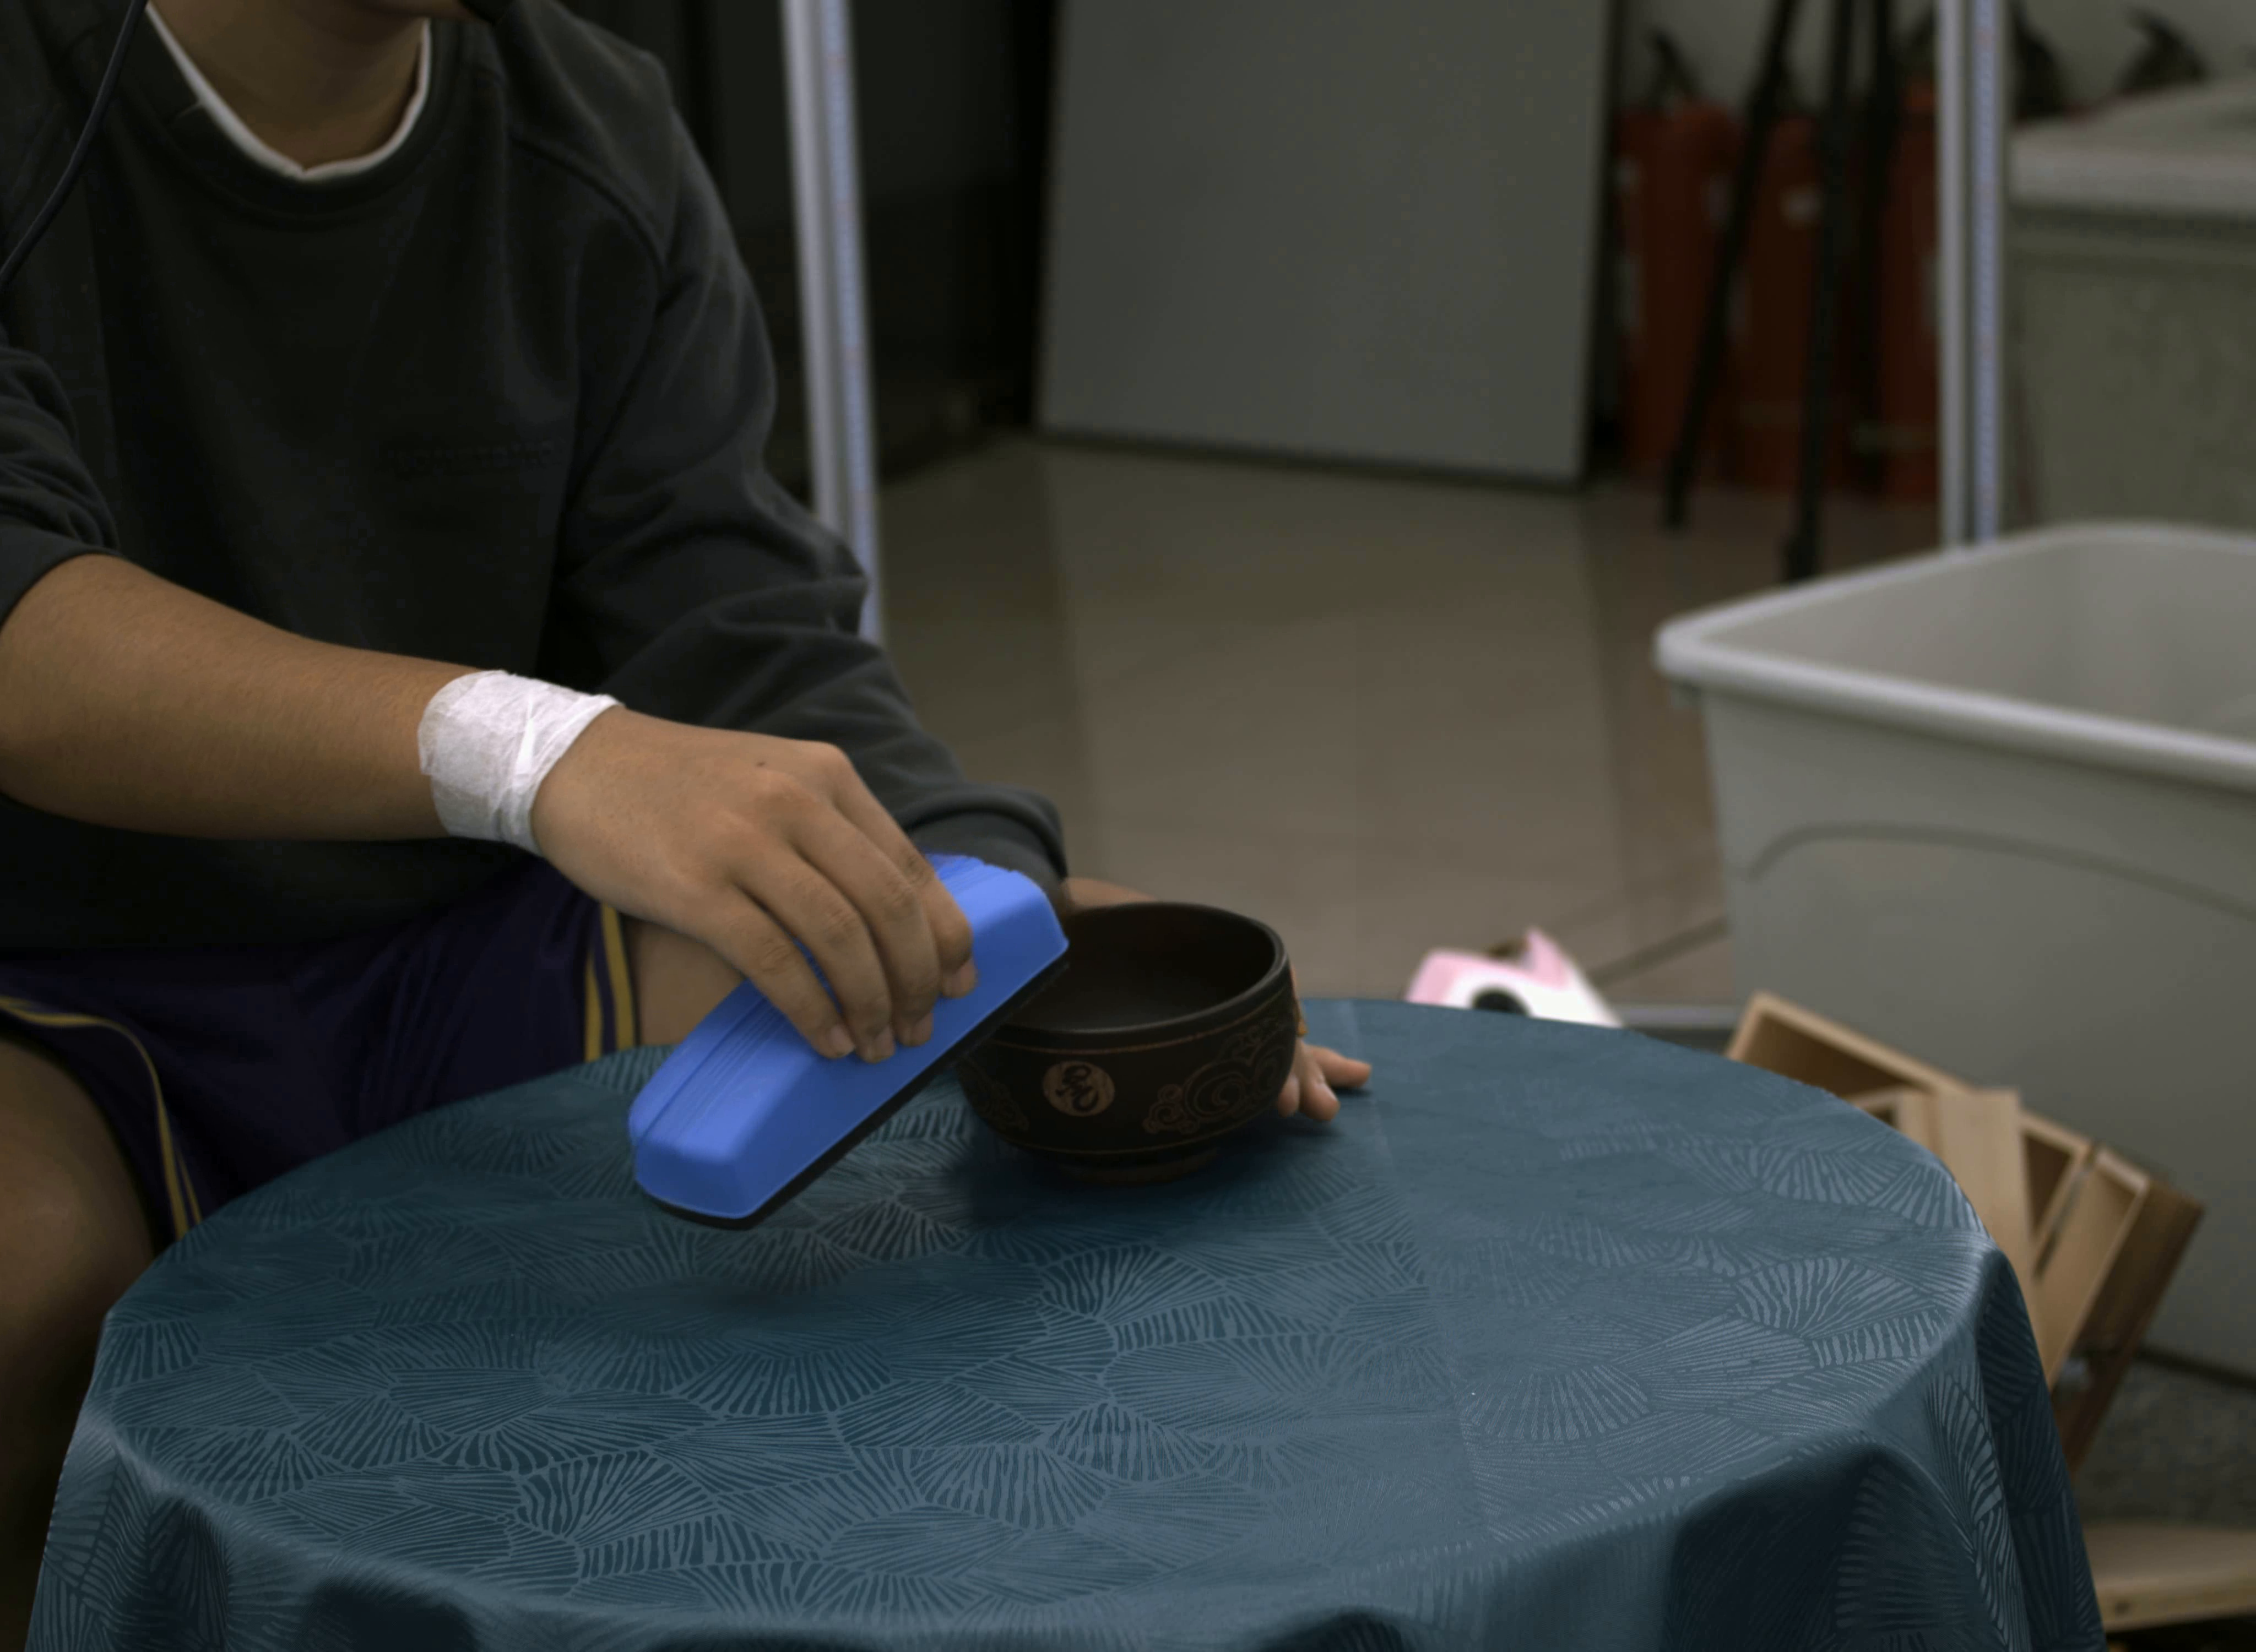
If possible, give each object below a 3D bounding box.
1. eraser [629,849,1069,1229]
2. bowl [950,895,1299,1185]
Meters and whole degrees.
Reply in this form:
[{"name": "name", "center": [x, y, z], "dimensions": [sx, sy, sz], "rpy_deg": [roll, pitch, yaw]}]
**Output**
[{"name": "eraser", "center": [-0.088, 0.061, 1.702], "dimensions": [0.054, 0.047, 0.160], "rpy_deg": [18, 46, 39]}, {"name": "bowl", "center": [0.000, 0.076, 1.786], "dimensions": [0.116, 0.070, 0.118], "rpy_deg": [-7, 20, 2]}]
